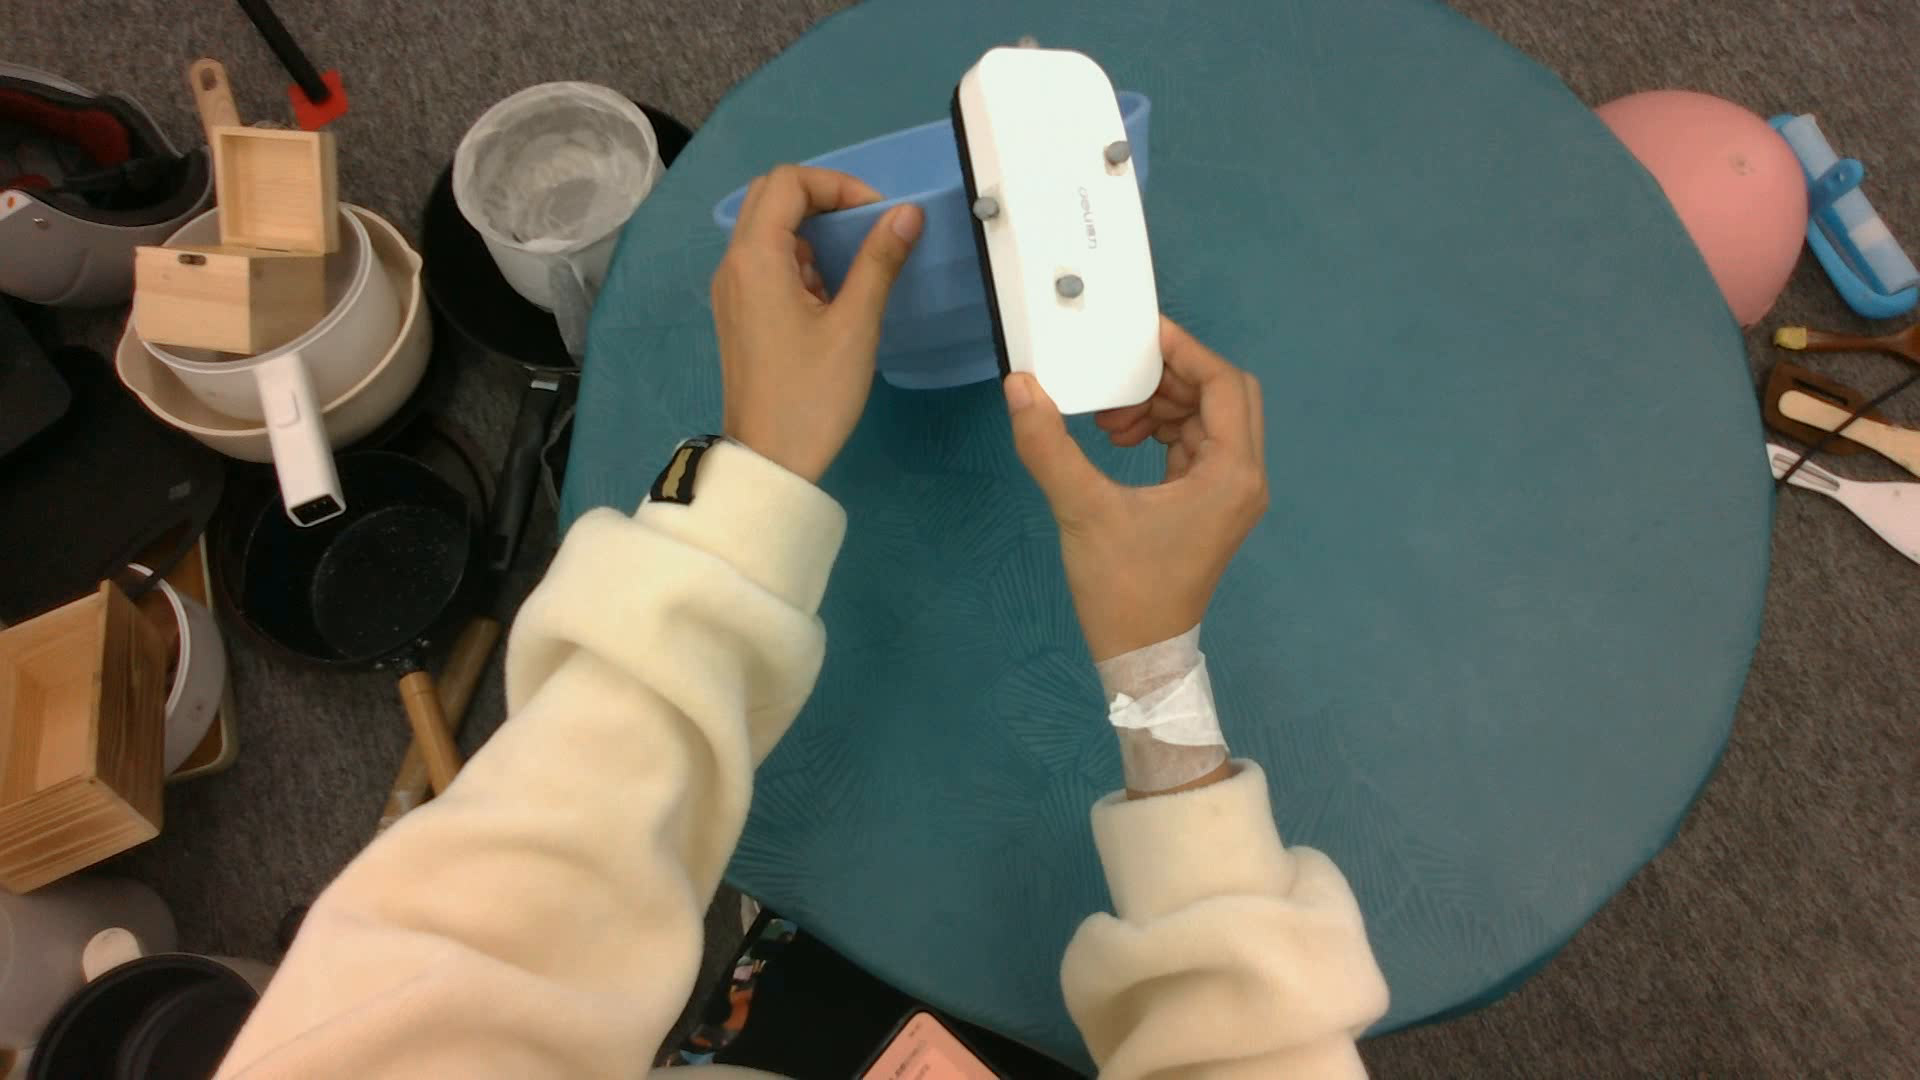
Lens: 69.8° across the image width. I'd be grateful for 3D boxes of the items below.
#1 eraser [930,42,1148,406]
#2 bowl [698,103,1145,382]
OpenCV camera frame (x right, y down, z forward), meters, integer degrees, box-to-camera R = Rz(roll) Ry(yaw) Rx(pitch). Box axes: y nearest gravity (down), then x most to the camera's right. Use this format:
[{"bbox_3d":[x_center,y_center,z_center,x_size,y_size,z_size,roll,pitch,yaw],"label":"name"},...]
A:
[{"bbox_3d":[0.029,-0.114,0.501,0.063,0.034,0.131,-12,90,-35],"label":"eraser"},{"bbox_3d":[-0.011,-0.130,0.618,0.196,0.197,0.095,-11,113,-5],"label":"bowl"}]
